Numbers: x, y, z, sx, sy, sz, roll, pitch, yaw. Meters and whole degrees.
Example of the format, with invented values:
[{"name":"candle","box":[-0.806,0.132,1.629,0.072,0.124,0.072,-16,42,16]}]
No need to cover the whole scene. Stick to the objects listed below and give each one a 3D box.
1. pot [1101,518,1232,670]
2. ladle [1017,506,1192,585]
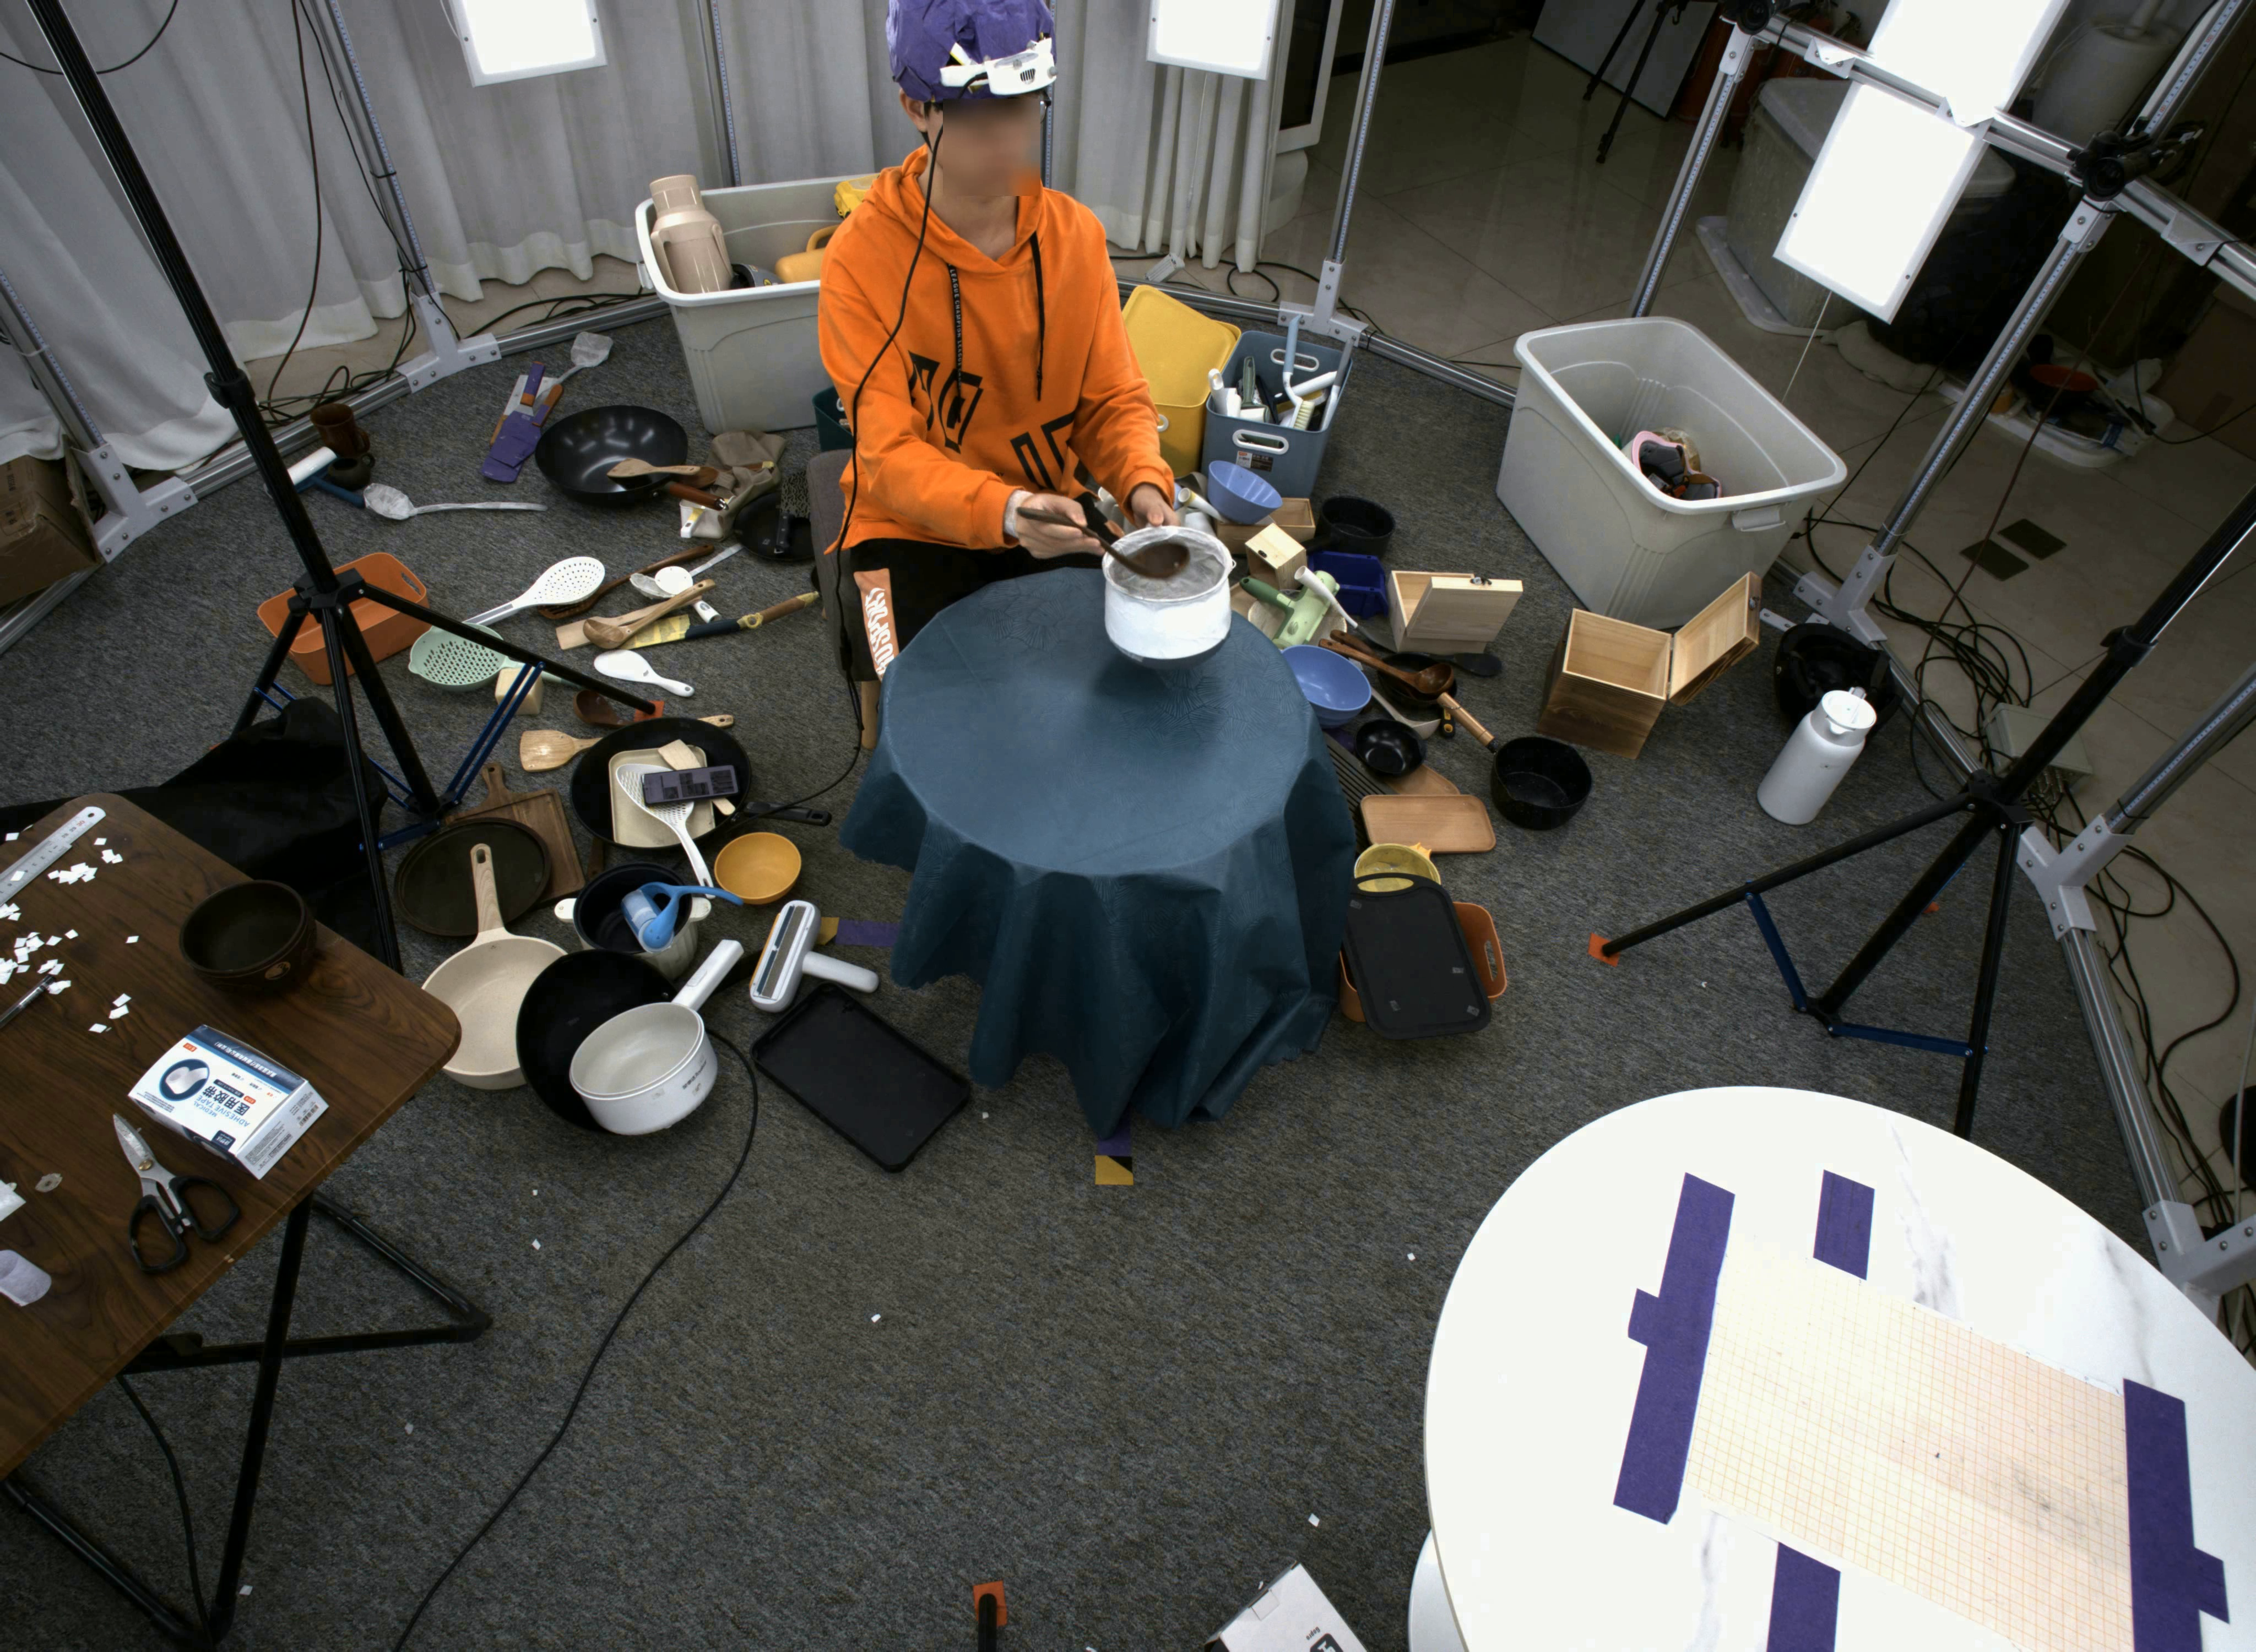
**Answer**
[{"name":"pot","box":[0.049,-0.332,1.800,0.178,0.133,0.240,-8,45,-6]},{"name":"ladle","box":[-0.023,-0.379,1.665,0.270,0.071,0.077,20,15,-44]}]
